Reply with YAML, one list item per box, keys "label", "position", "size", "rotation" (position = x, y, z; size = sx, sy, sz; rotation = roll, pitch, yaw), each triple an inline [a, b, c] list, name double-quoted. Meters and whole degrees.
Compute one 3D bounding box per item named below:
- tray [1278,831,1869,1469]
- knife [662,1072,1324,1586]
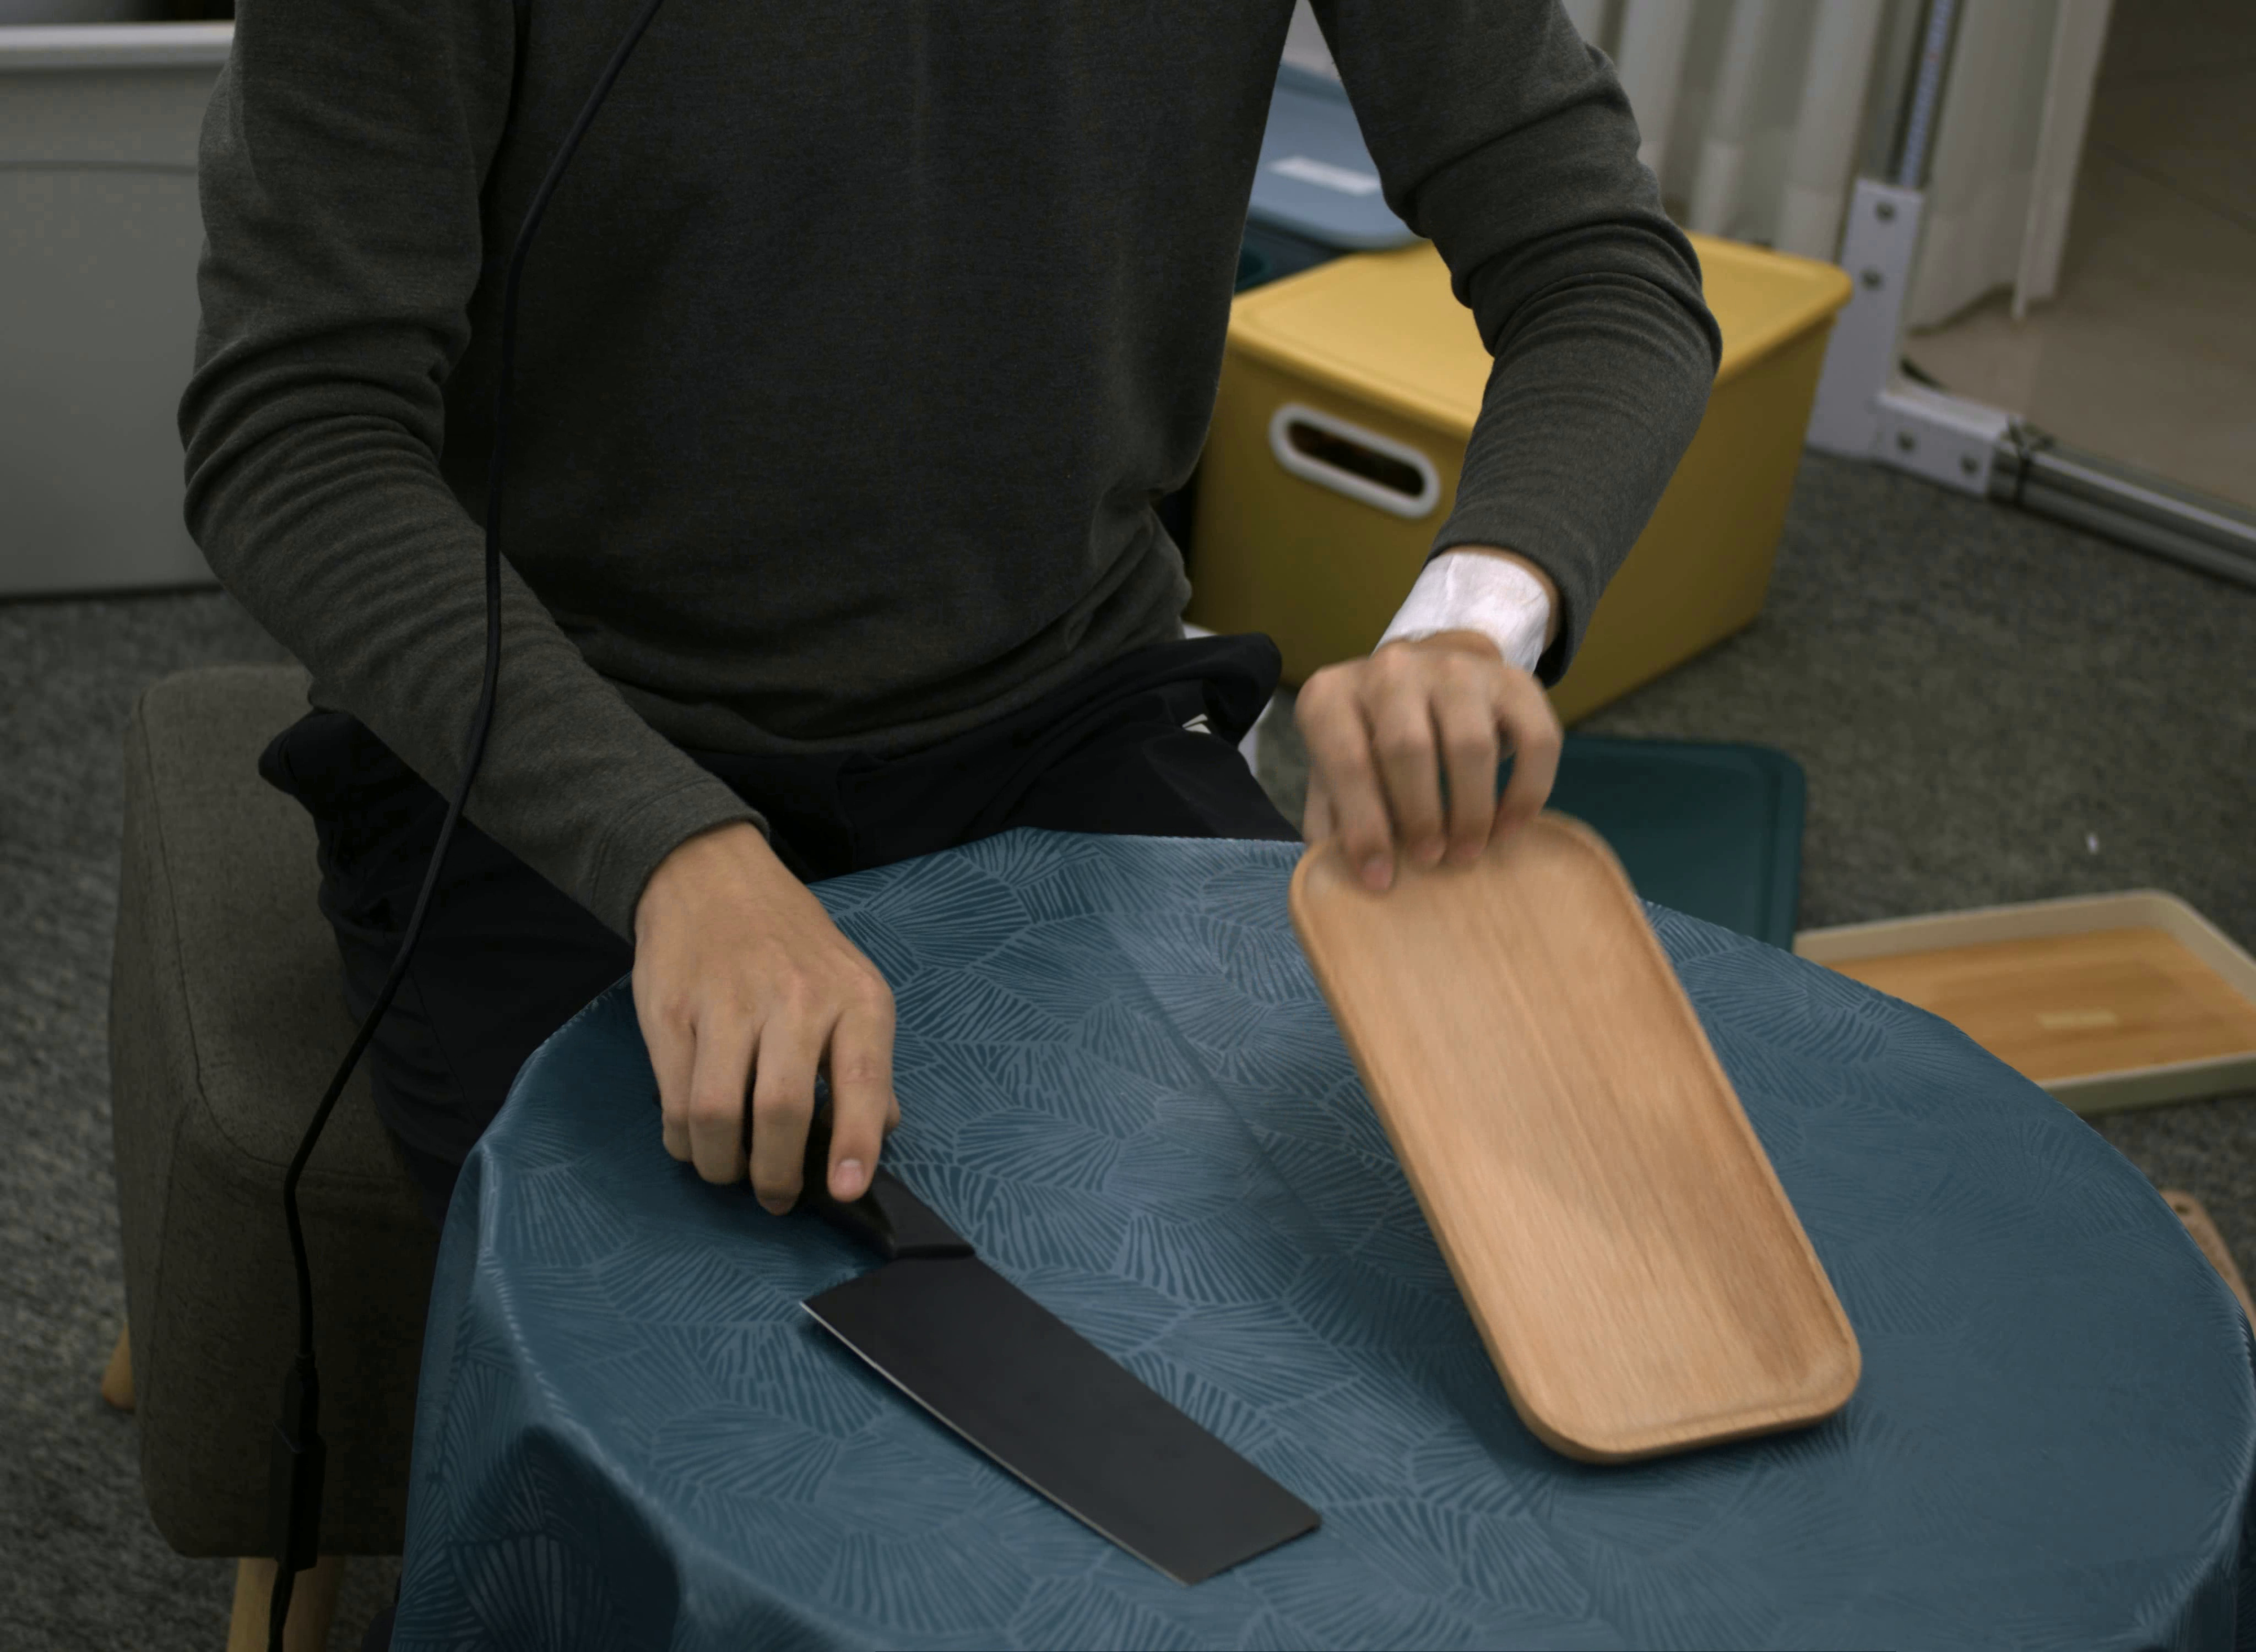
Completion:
- label: "tray"
  position: [0.144, 0.104, 1.760]
  size: [0.129, 0.023, 0.253]
  rotation: [-5, 50, -27]
- label: "knife"
  position: [-0.057, 0.158, 1.710]
  size: [0.080, 0.021, 0.305]
  rotation: [-16, 36, -34]
